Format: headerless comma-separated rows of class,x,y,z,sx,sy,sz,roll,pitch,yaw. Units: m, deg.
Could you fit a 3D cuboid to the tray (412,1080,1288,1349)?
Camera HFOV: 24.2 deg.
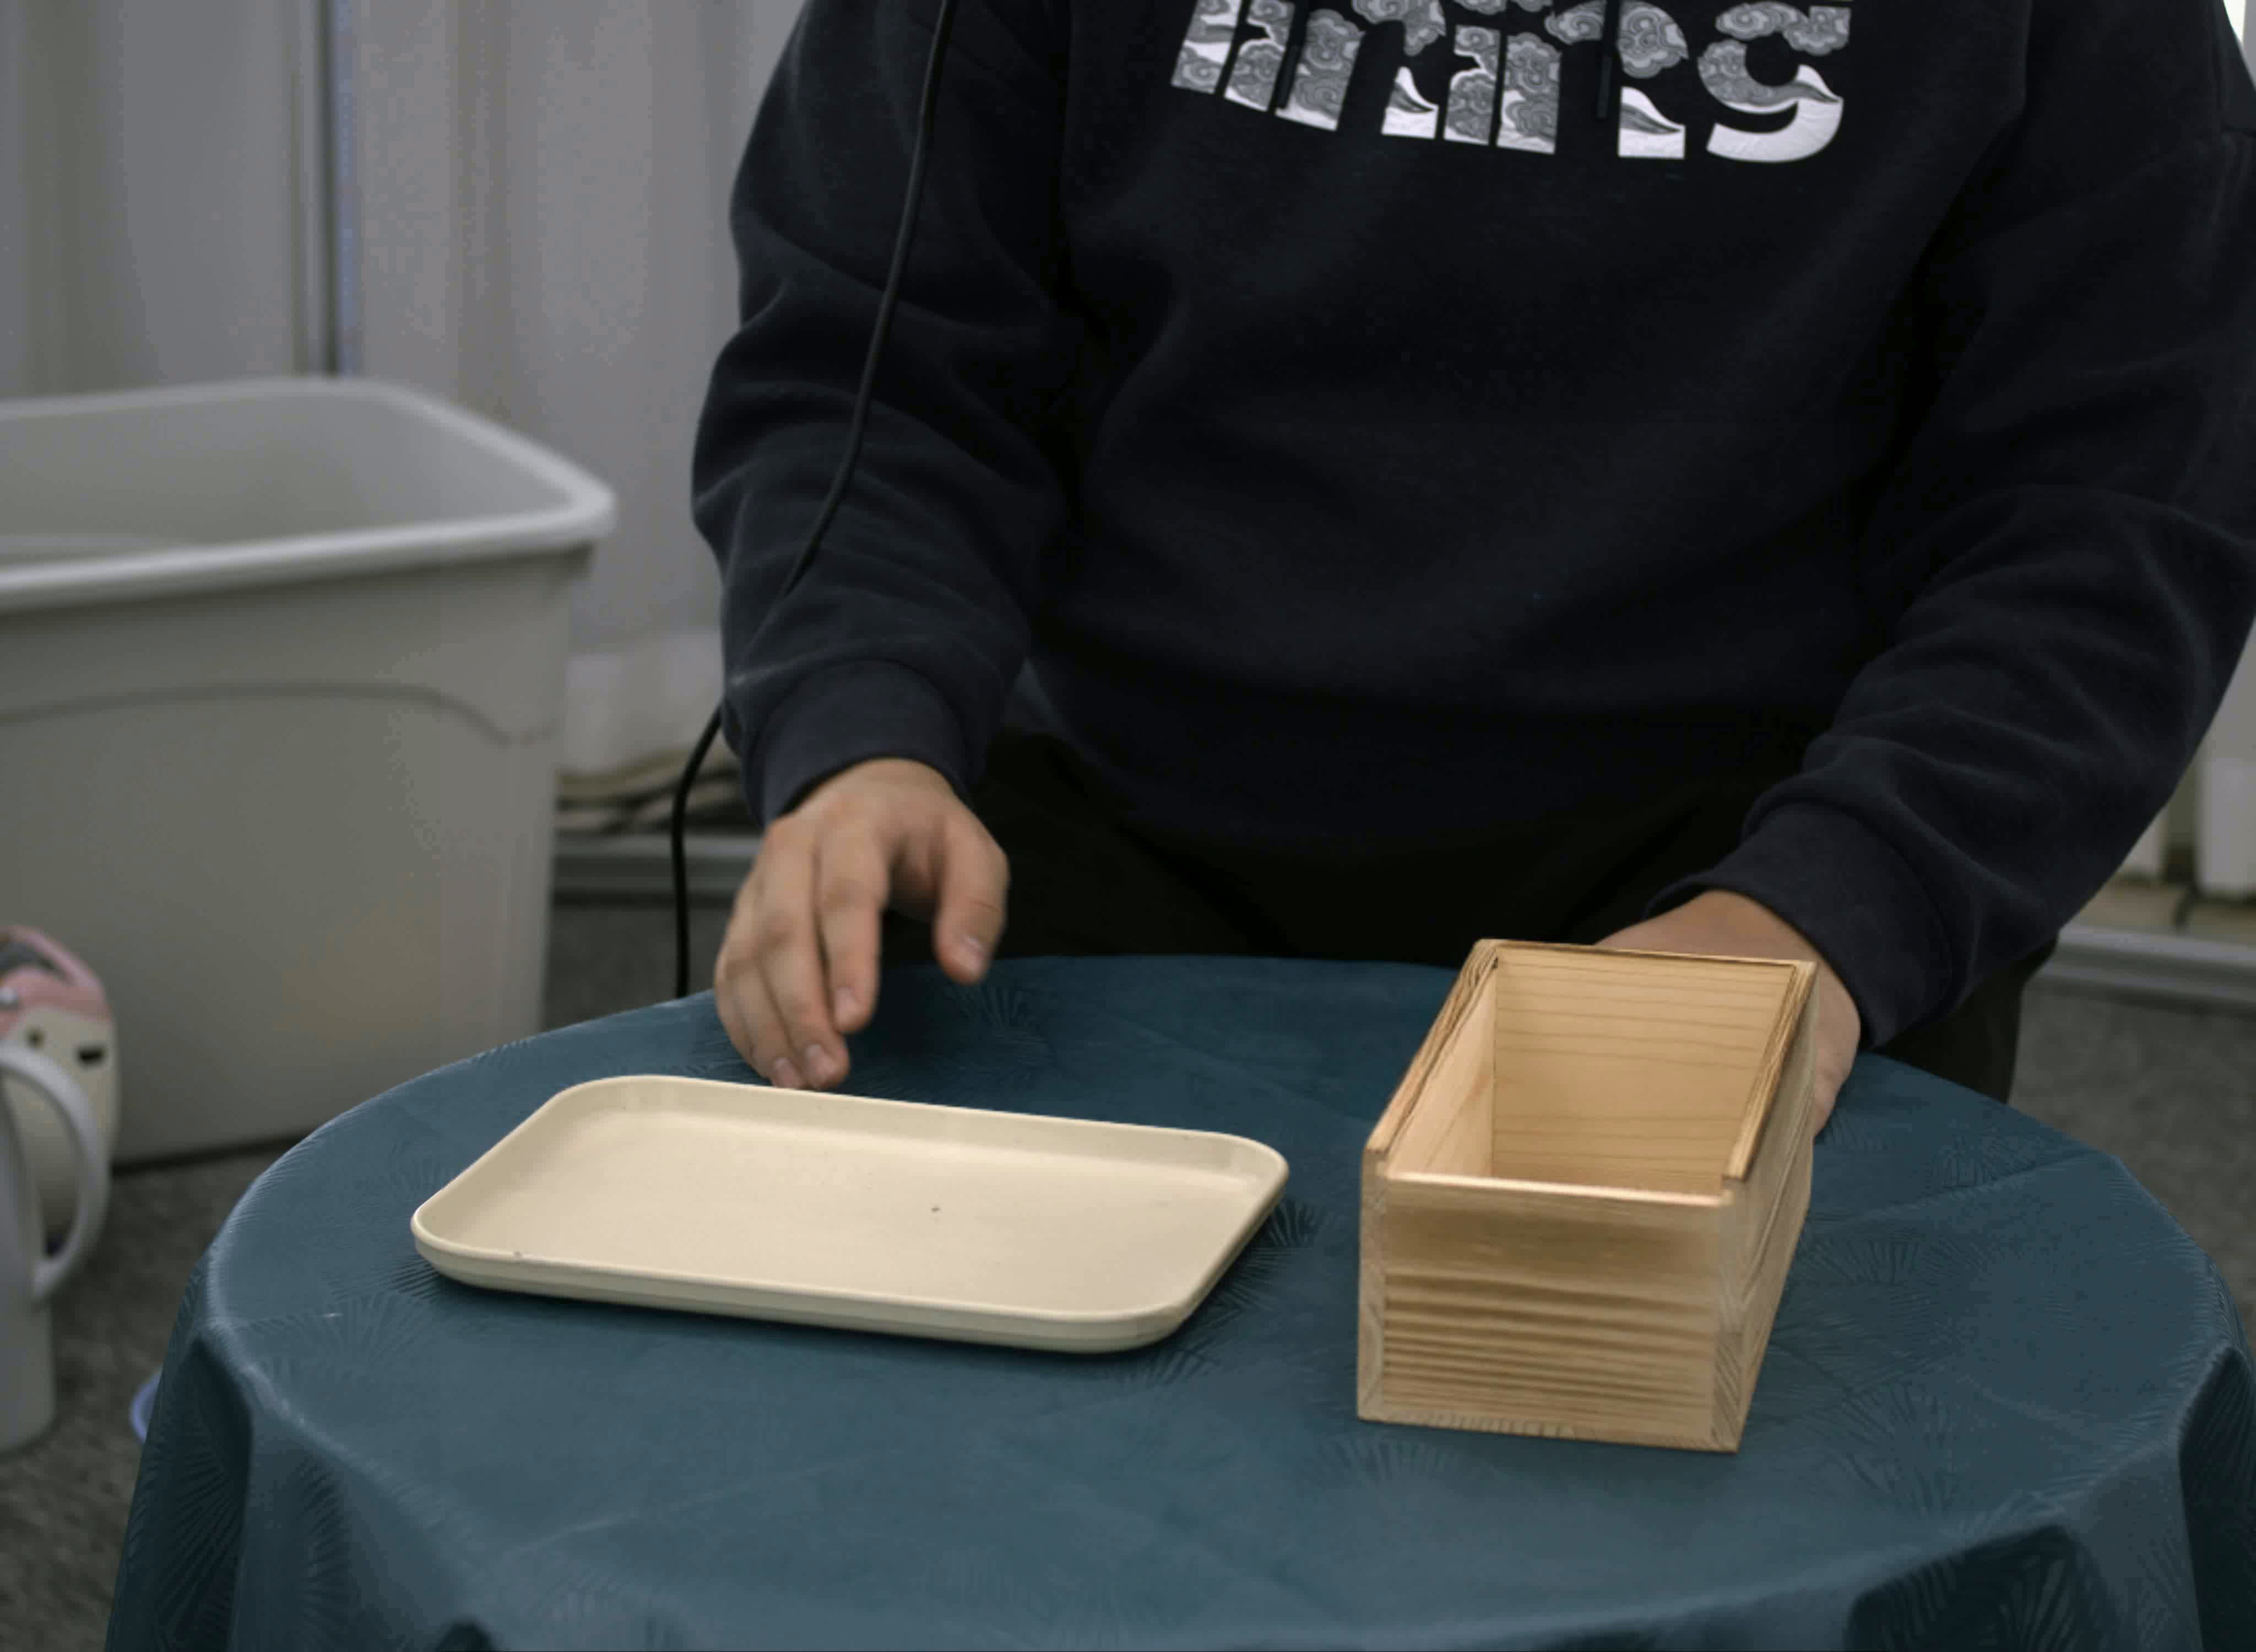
tray,-0.081,0.116,1.577,0.238,0.017,0.171,5,15,14

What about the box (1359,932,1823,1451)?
box,0.137,0.101,1.523,0.107,0.081,0.211,4,16,11
